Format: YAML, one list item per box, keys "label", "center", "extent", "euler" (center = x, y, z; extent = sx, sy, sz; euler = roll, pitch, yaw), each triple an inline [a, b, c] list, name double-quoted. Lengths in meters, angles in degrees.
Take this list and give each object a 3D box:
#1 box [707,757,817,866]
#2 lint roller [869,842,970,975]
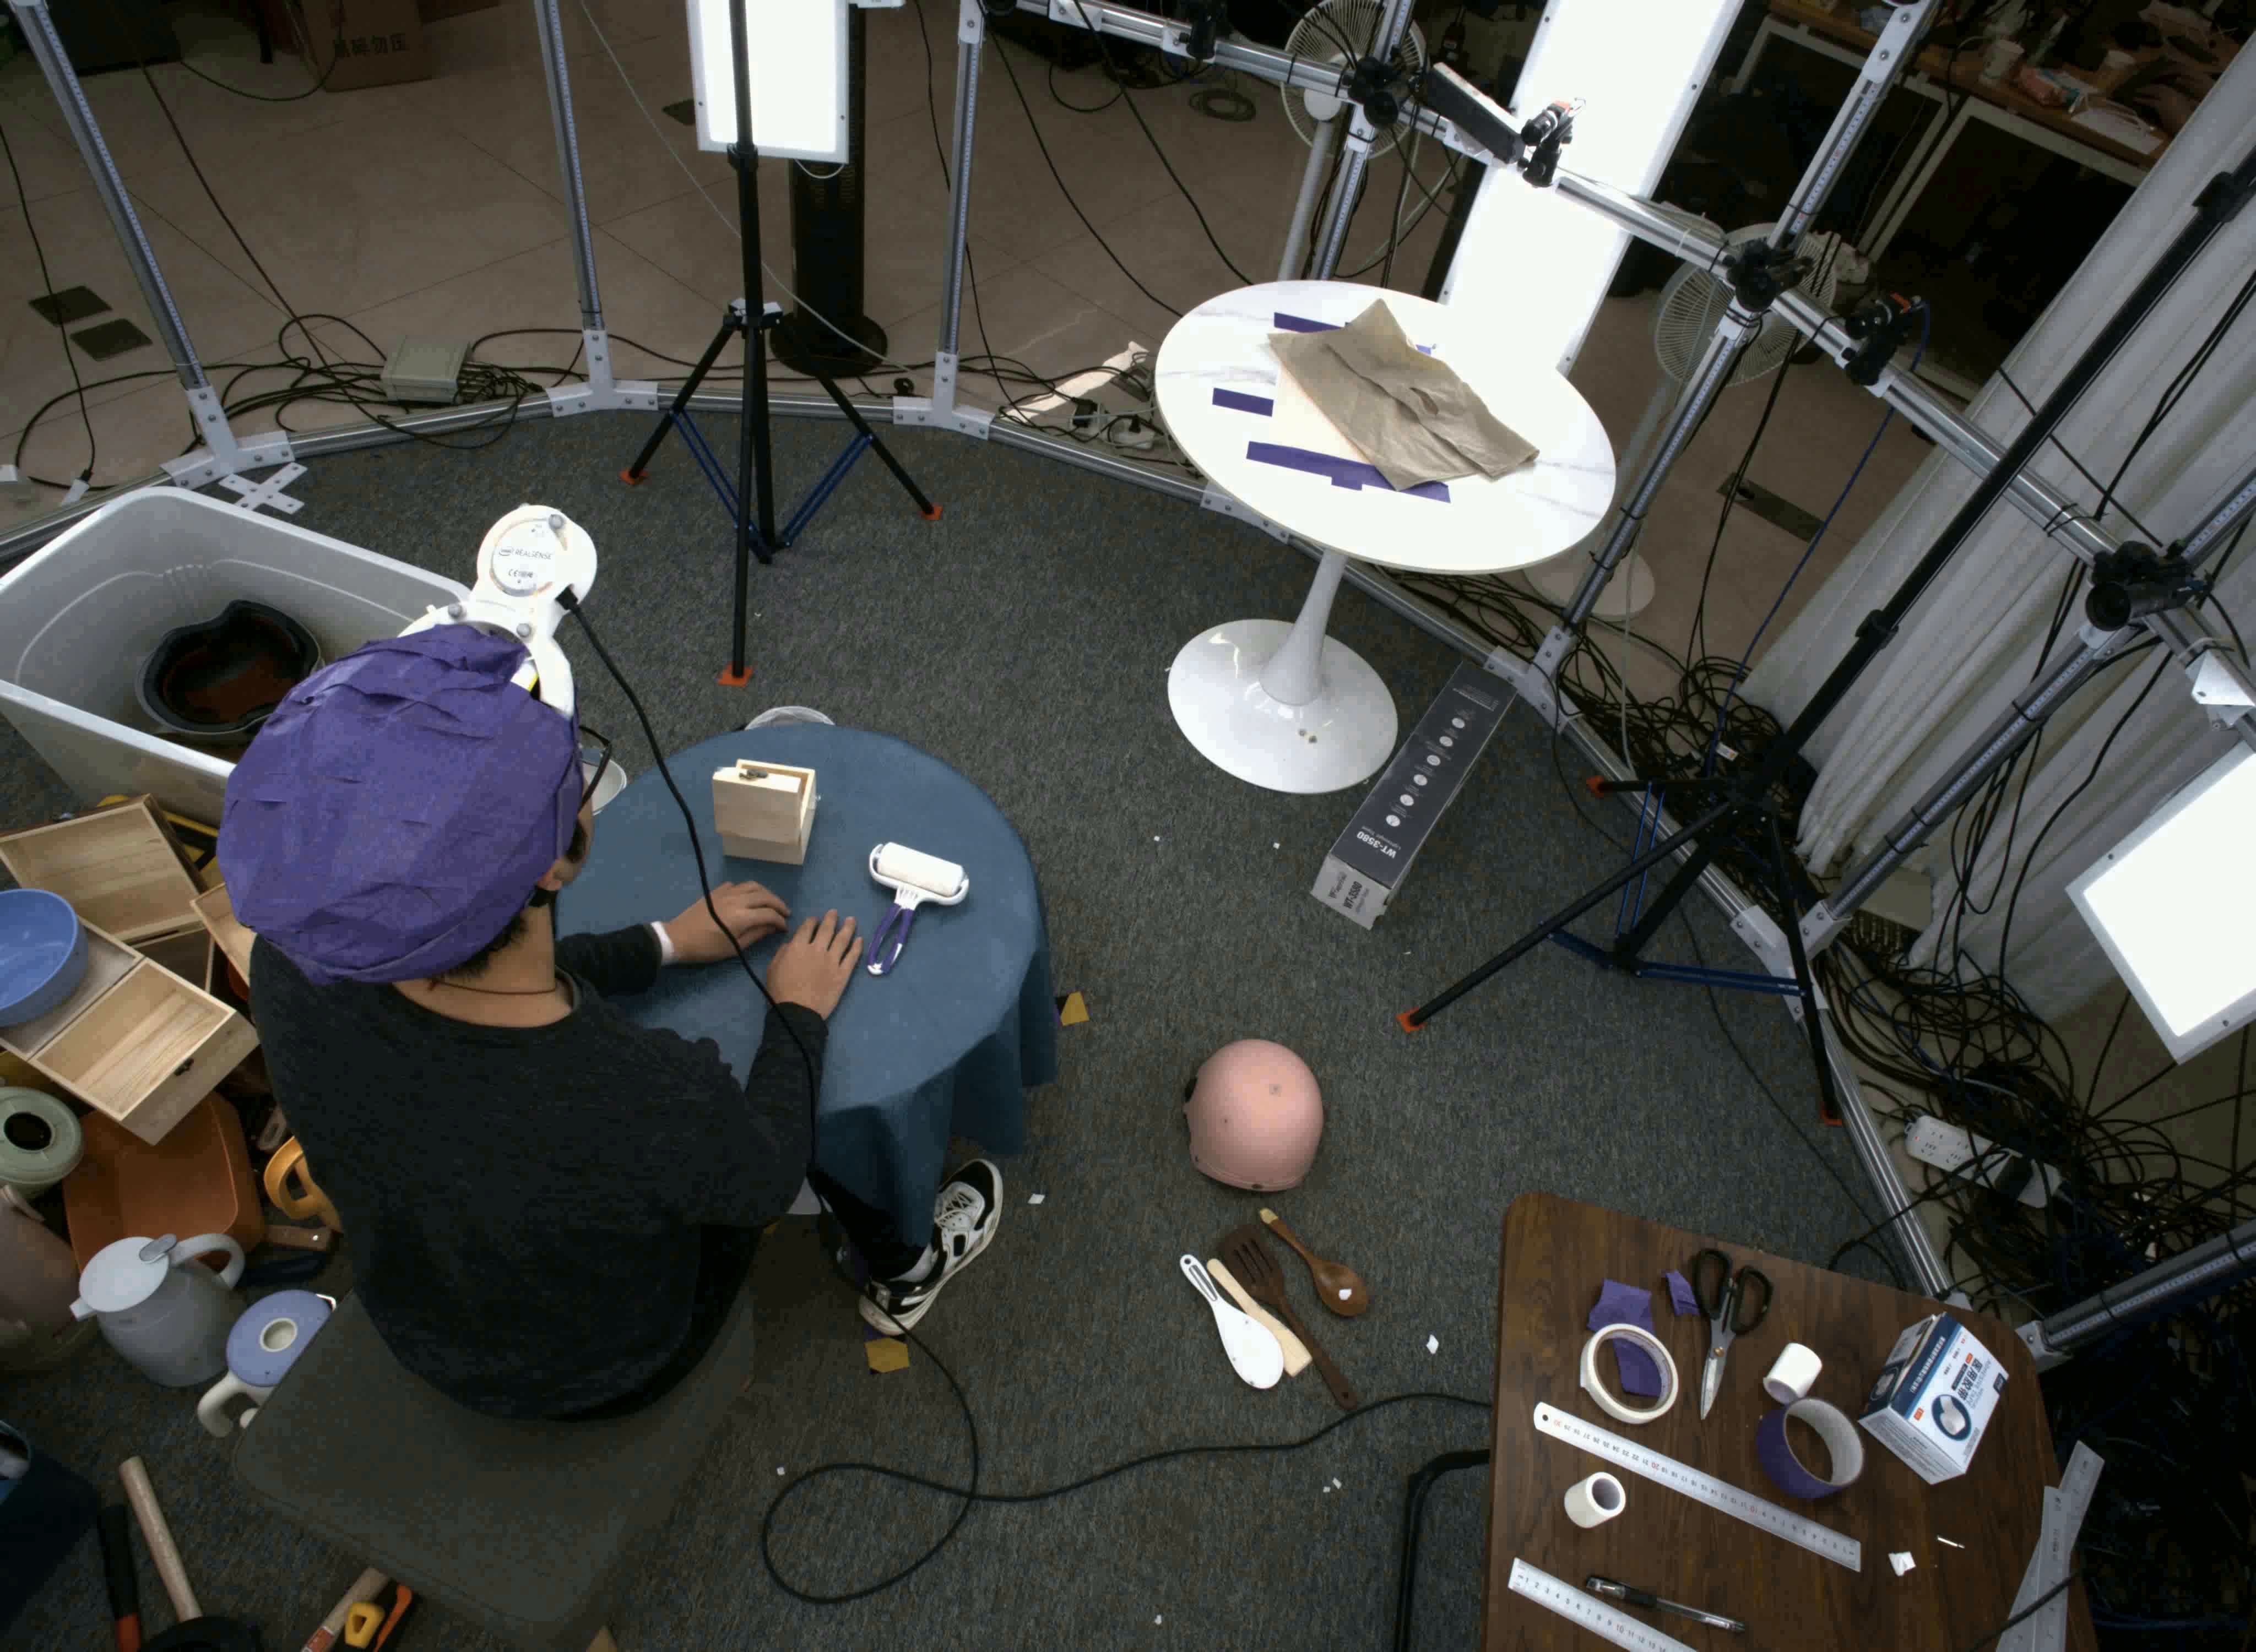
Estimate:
- label: "box"
  center: [-0.456, -0.045, 1.625]
  extent: [0.102, 0.188, 0.131]
  euler: [7, 52, -7]
- label: "lint roller"
  center: [-0.288, 0.103, 1.647]
  extent: [0.132, 0.051, 0.179]
  euler: [21, 50, 0]
